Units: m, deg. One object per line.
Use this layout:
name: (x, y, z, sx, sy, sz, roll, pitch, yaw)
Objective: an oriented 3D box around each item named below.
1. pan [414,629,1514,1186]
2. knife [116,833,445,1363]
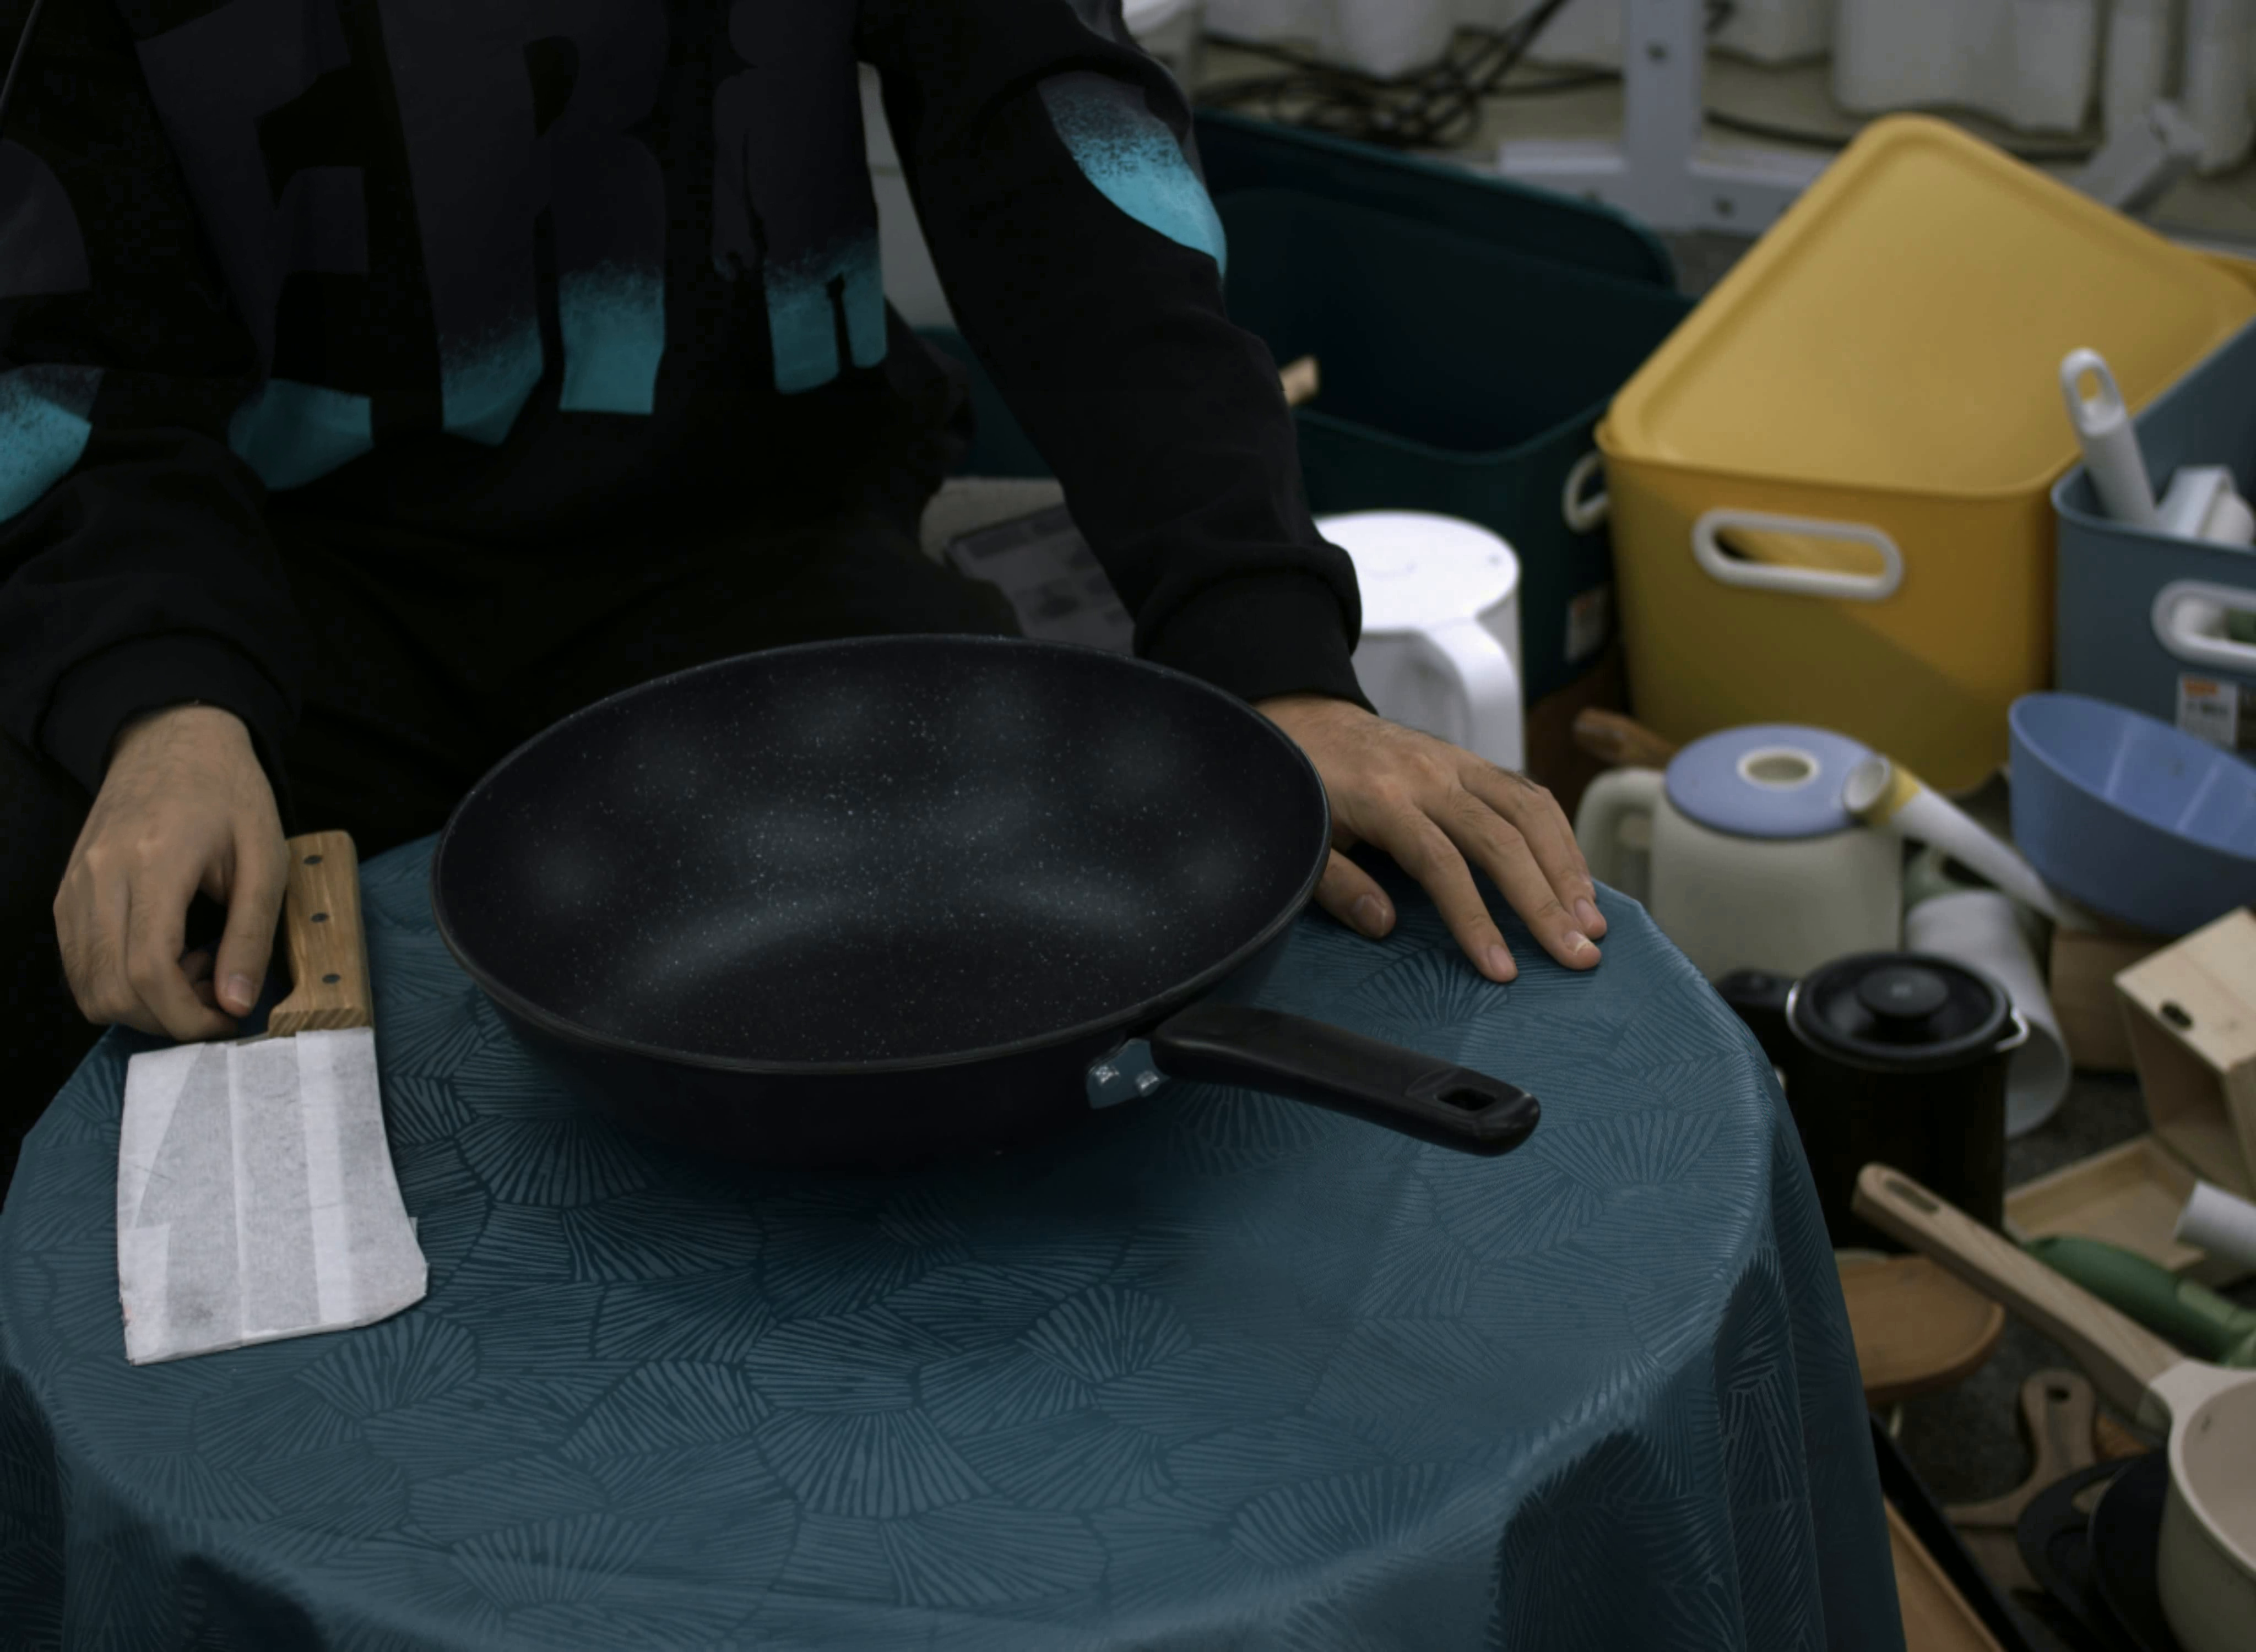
pan: (-0.036, 0.057, 1.877, 0.313, 0.110, 0.477, -24, 34, -32)
knife: (-0.292, 0.090, 1.933, 0.113, 0.021, 0.320, -5, 30, -4)
